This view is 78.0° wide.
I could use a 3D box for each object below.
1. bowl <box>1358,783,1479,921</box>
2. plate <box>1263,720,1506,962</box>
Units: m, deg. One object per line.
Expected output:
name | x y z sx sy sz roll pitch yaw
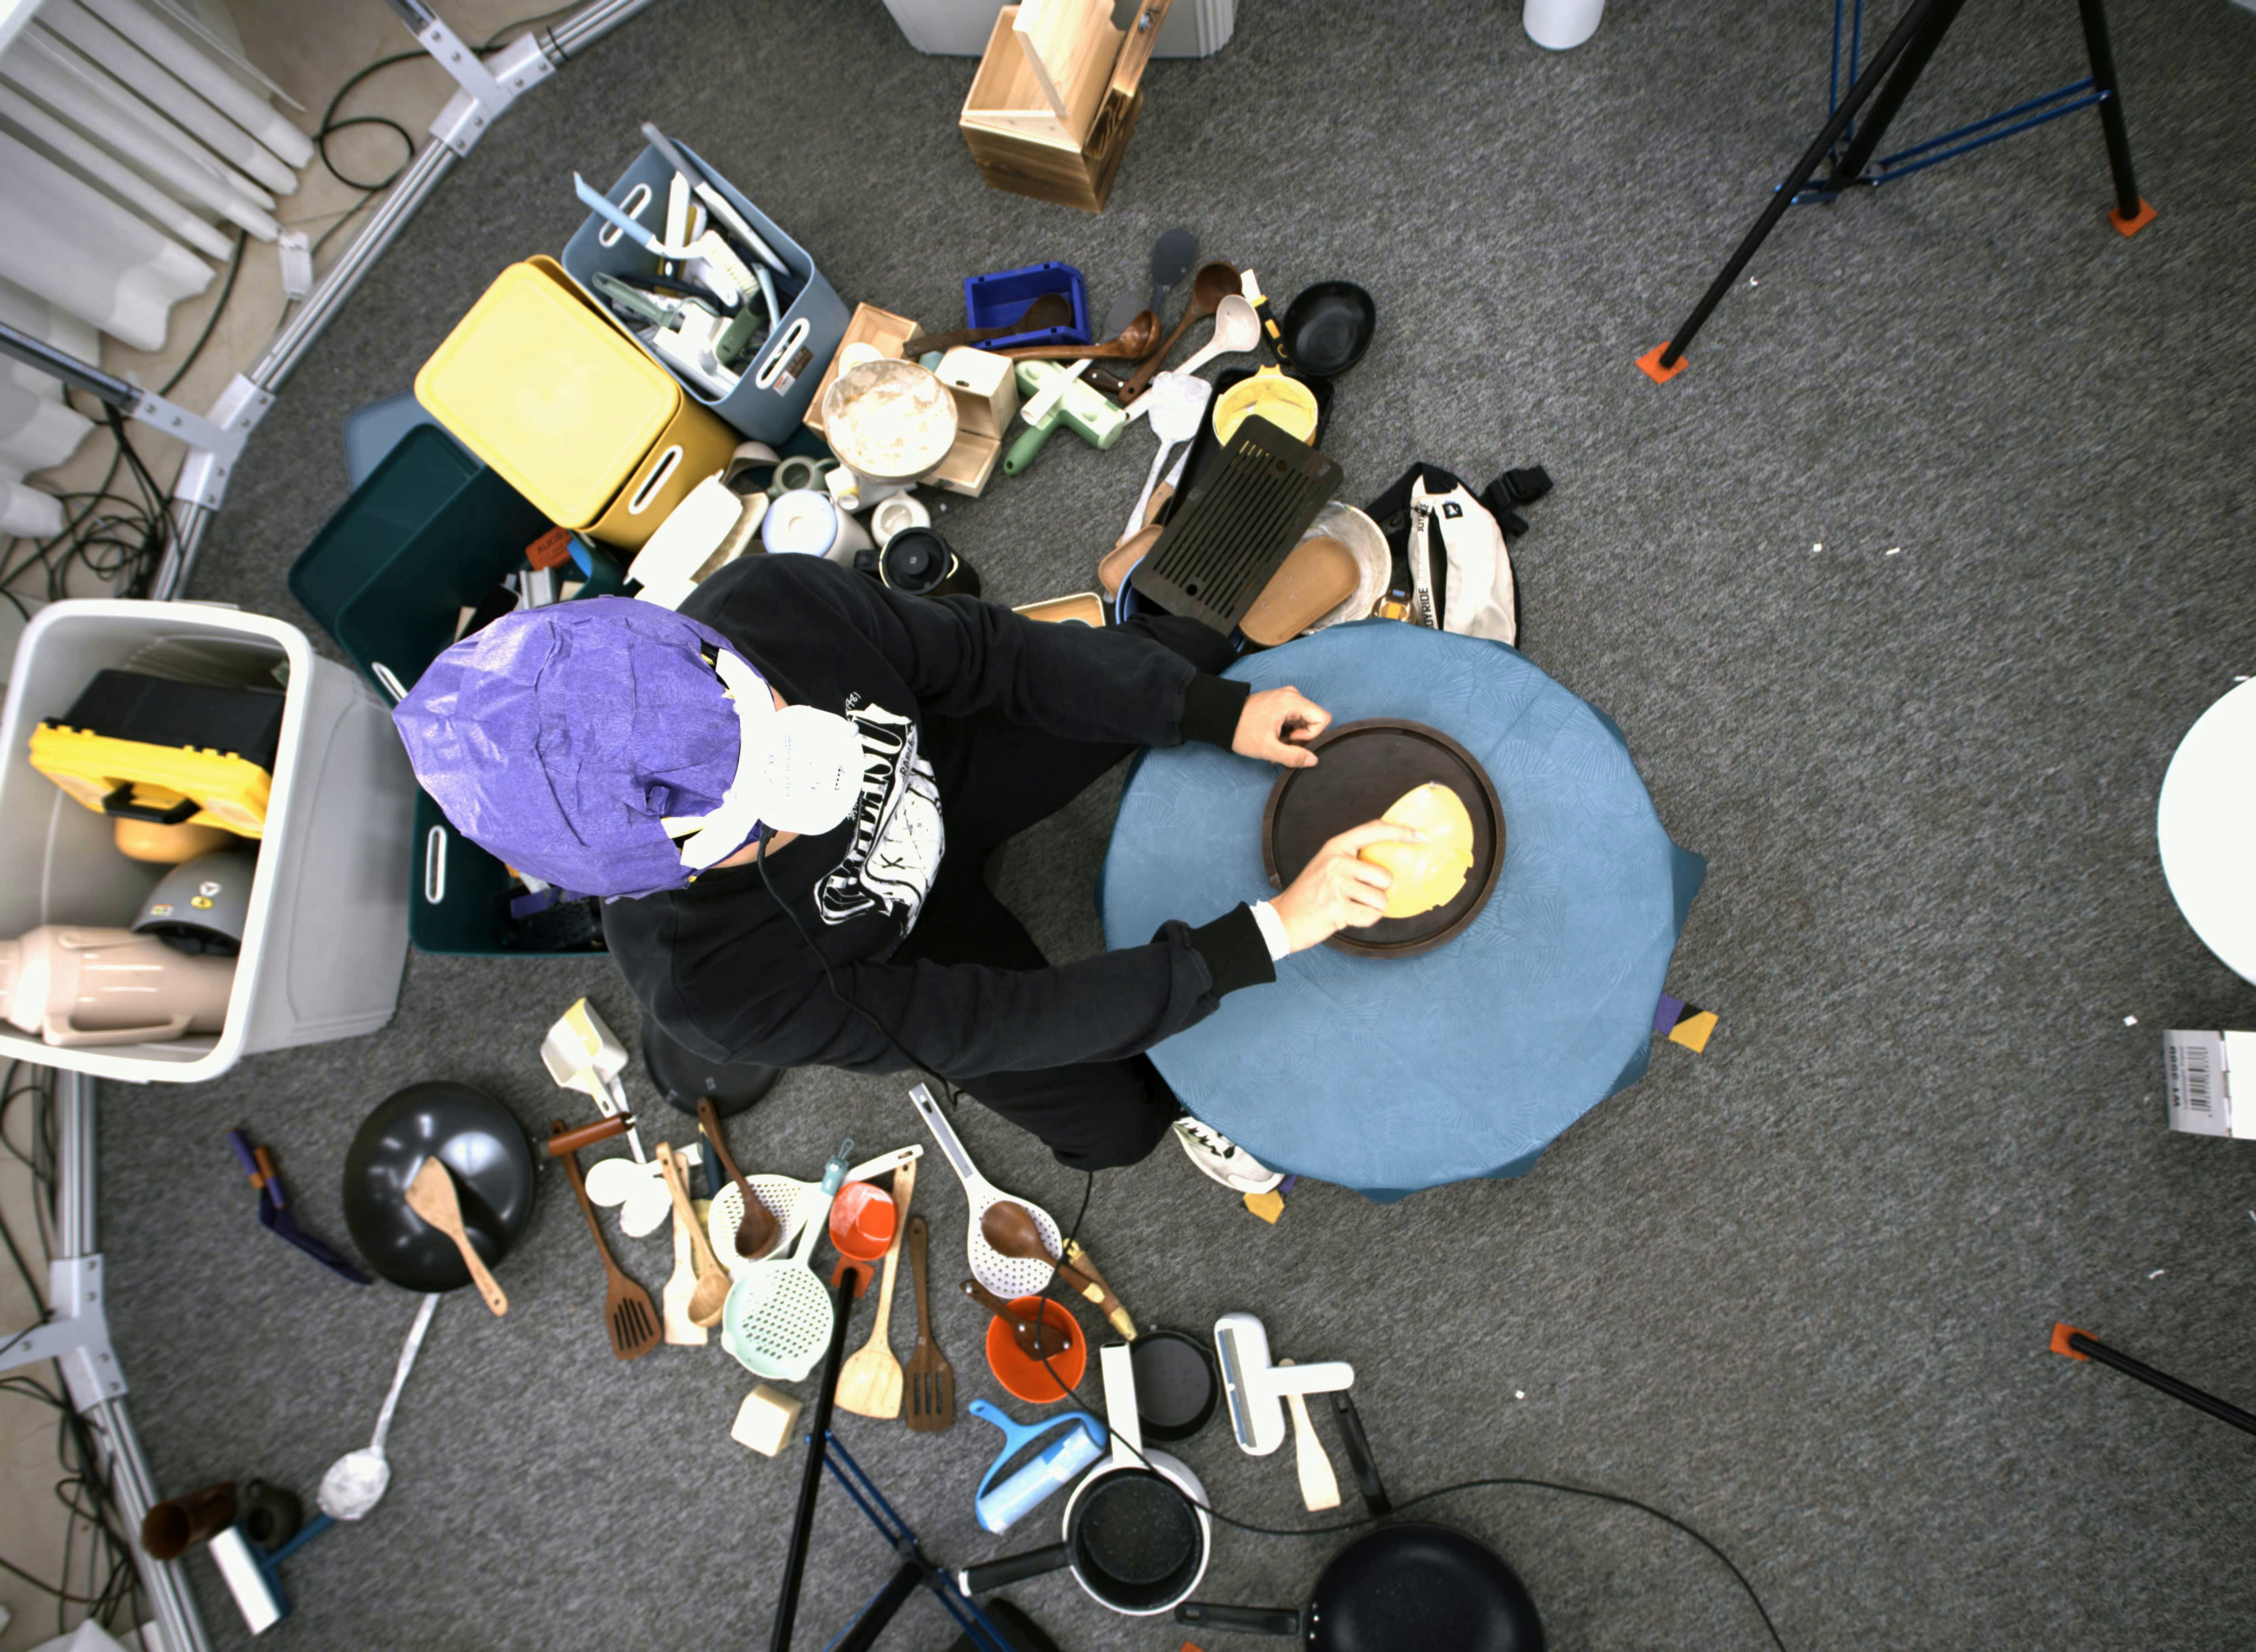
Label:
bowl | 0.286 0.035 1.295 0.059 0.146 0.145 39 92 35
plate | 0.267 0.014 1.443 0.255 0.029 0.255 0 95 6
